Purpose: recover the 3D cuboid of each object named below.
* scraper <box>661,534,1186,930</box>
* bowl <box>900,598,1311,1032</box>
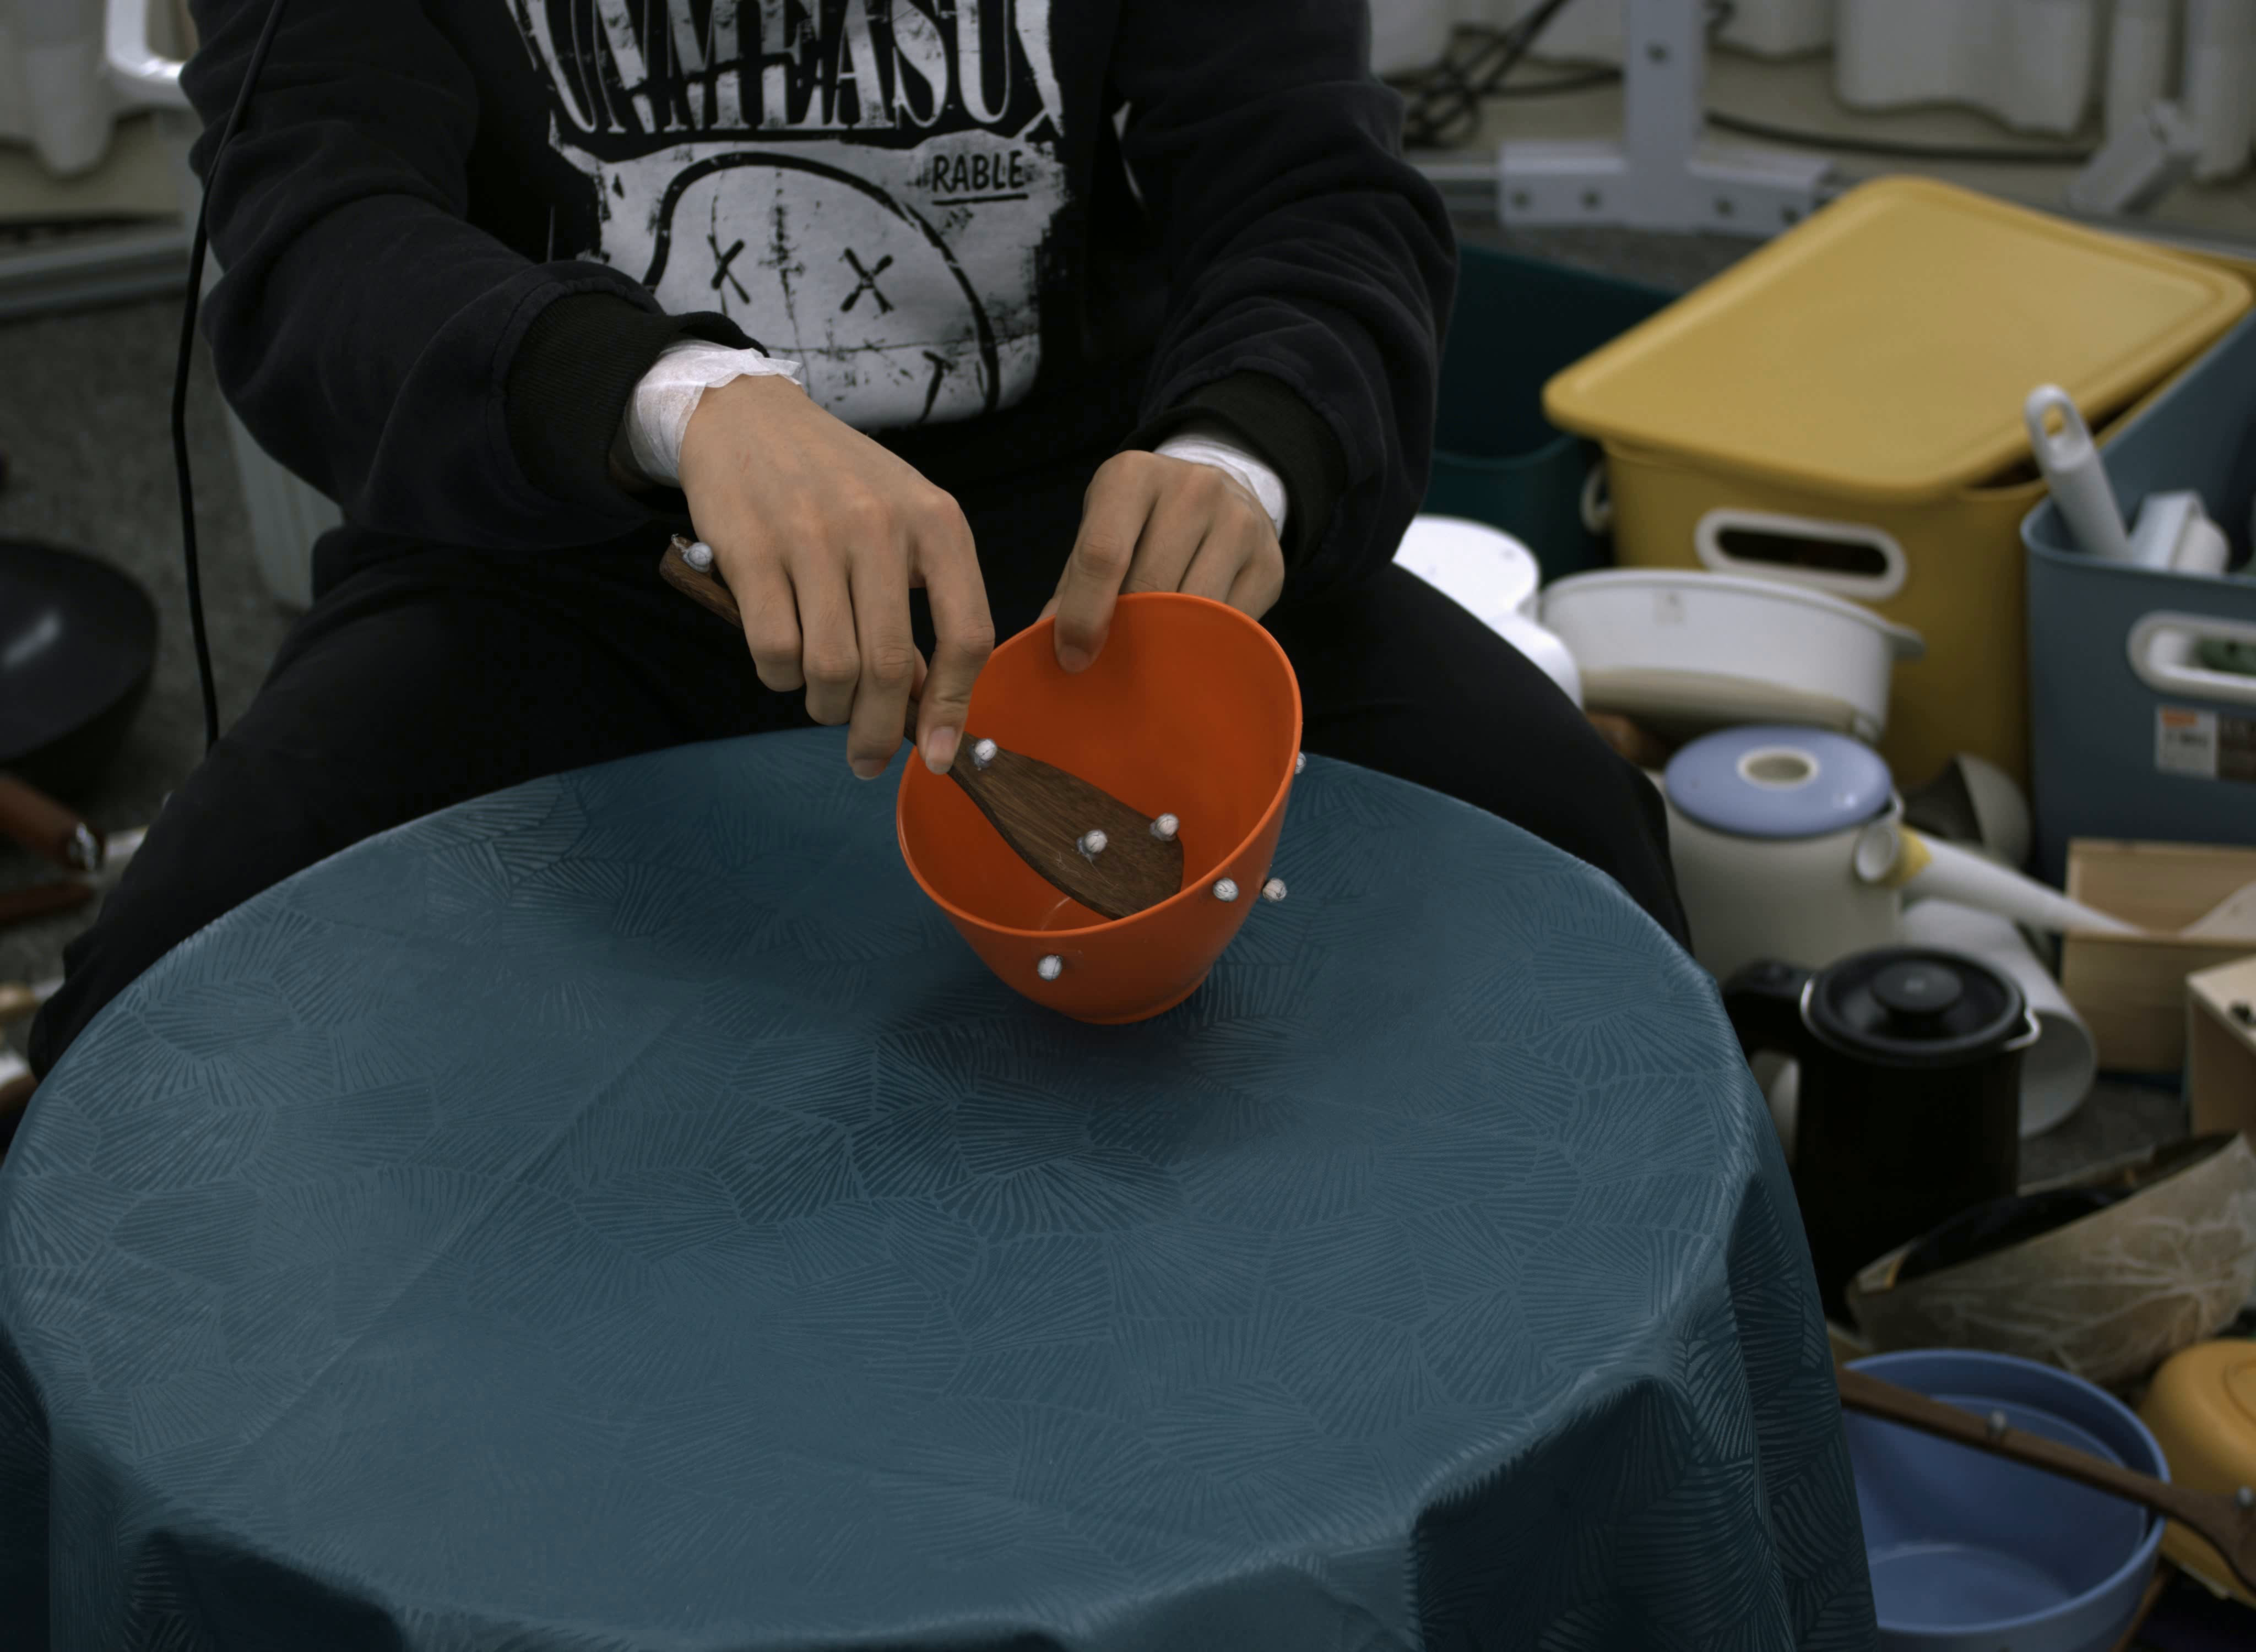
[{"bbox_3d":[-0.070,-0.034,1.905,0.210,0.010,0.077,35,26,-8],"label":"scraper"},{"bbox_3d":[0.000,0.007,1.952,0.147,0.103,0.151,-7,44,7],"label":"bowl"}]
